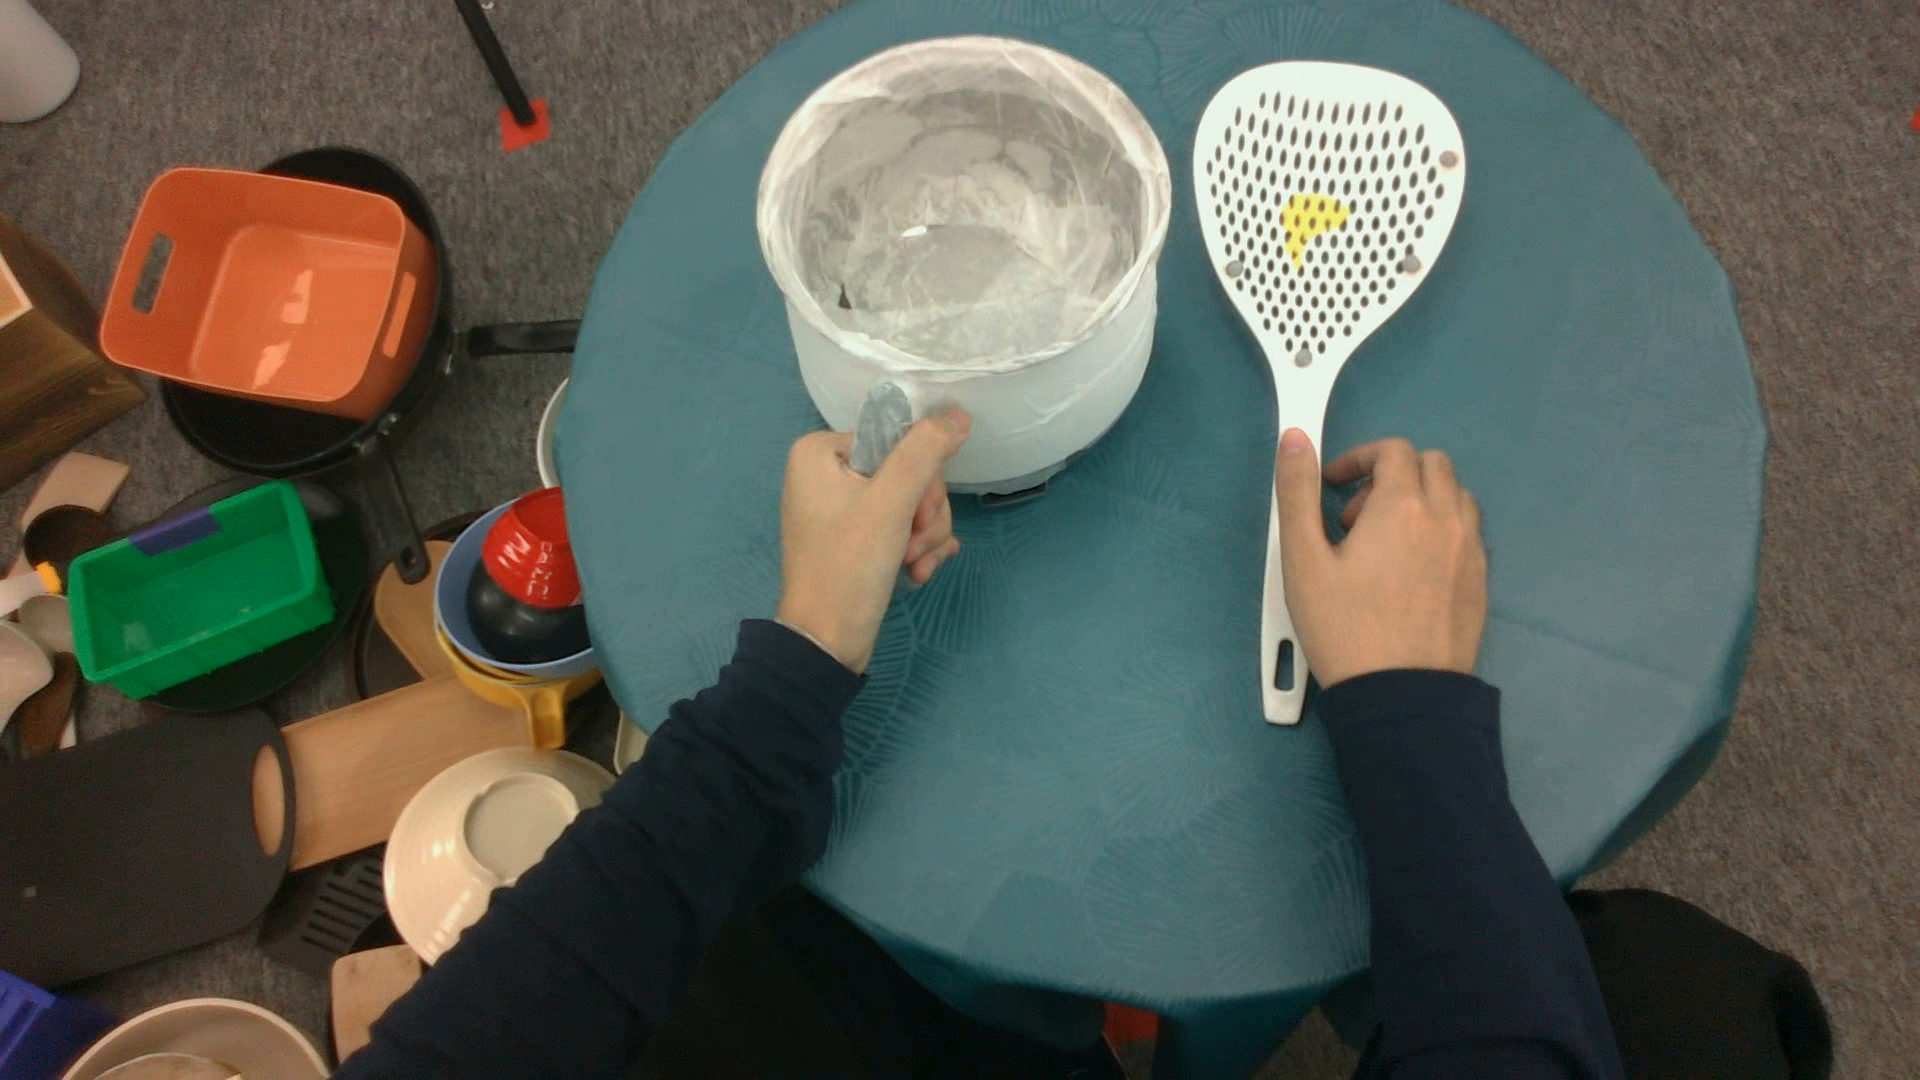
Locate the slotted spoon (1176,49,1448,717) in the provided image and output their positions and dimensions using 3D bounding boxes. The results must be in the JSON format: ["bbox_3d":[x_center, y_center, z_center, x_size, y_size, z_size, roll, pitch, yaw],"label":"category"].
[{"bbox_3d":[0.164,-0.088,0.675,0.137,0.050,0.349,7,68,4],"label":"slotted spoon"}]

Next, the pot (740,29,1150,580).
[{"bbox_3d":[-0.010,-0.102,0.638,0.178,0.136,0.234,13,68,10],"label":"pot"}]
